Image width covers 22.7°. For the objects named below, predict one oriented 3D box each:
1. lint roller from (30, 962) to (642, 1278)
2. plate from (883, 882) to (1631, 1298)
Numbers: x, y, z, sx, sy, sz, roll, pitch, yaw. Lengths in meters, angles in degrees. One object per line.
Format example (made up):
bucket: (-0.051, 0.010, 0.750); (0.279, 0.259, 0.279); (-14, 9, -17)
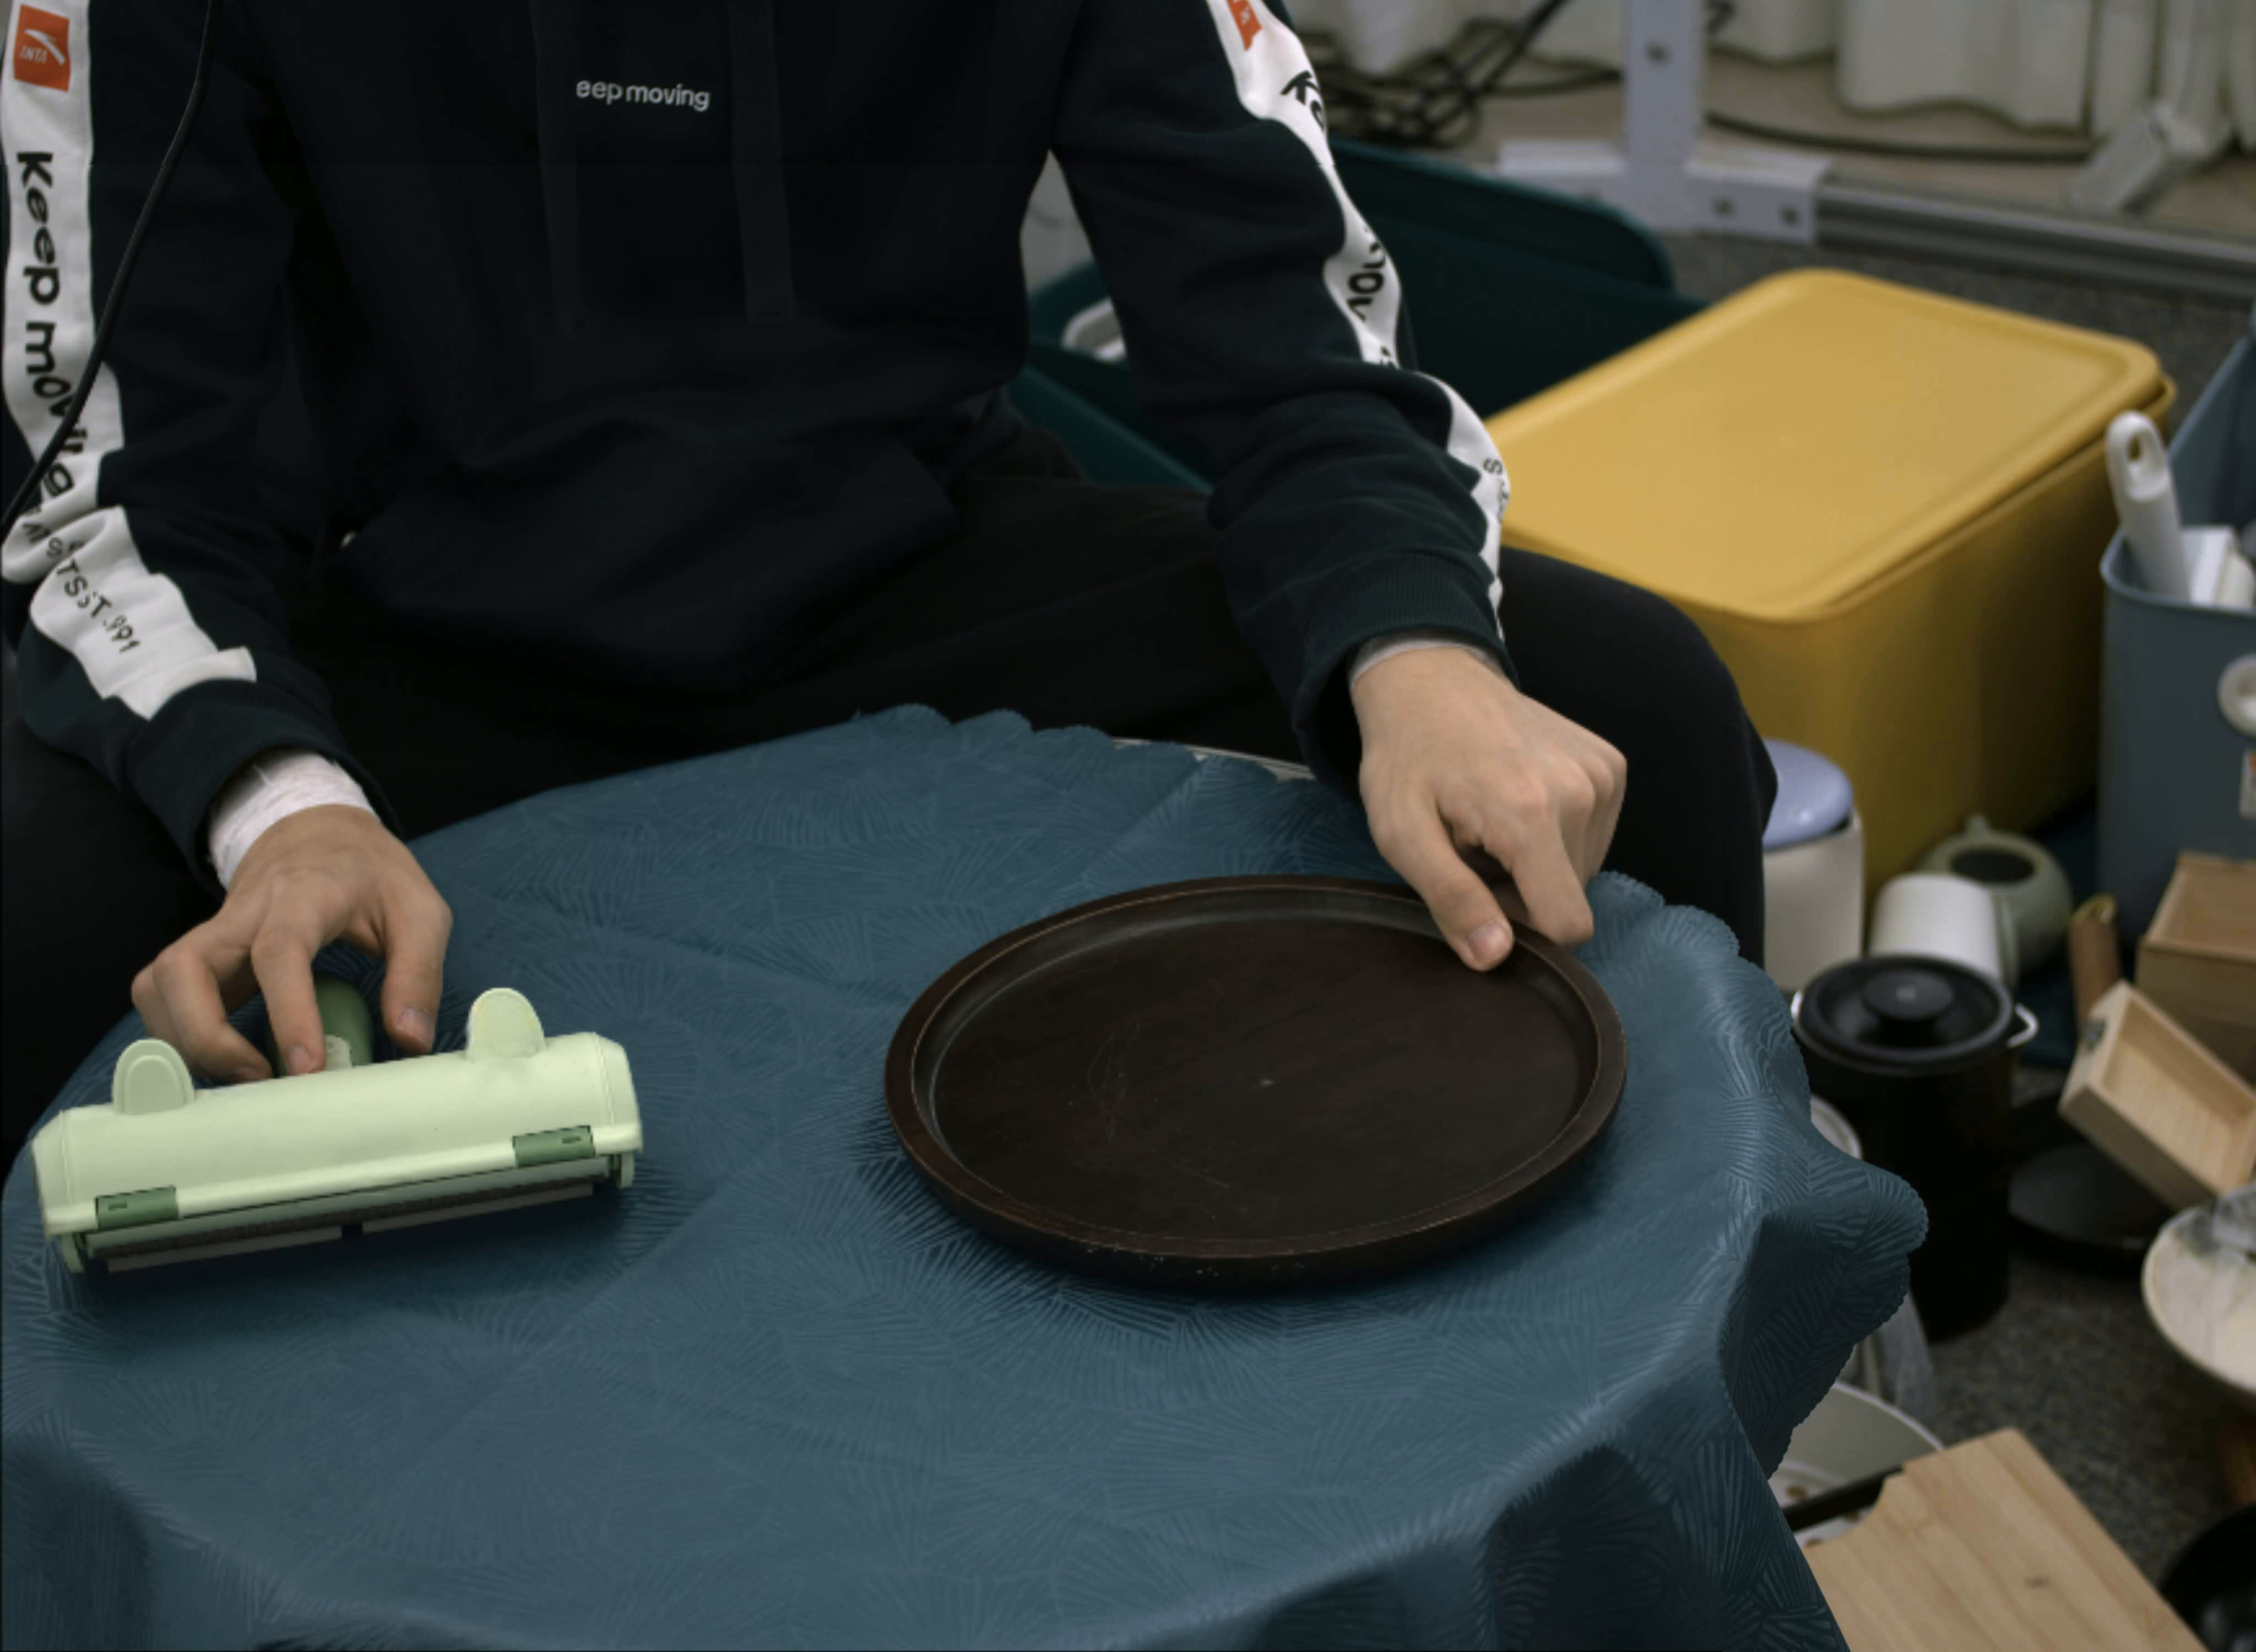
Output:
lint roller: (-0.271, 0.074, 1.891); (0.198, 0.081, 0.186); (-8, 31, -10)
plate: (0.043, 0.087, 1.897); (0.253, 0.029, 0.259); (-3, 29, 2)
